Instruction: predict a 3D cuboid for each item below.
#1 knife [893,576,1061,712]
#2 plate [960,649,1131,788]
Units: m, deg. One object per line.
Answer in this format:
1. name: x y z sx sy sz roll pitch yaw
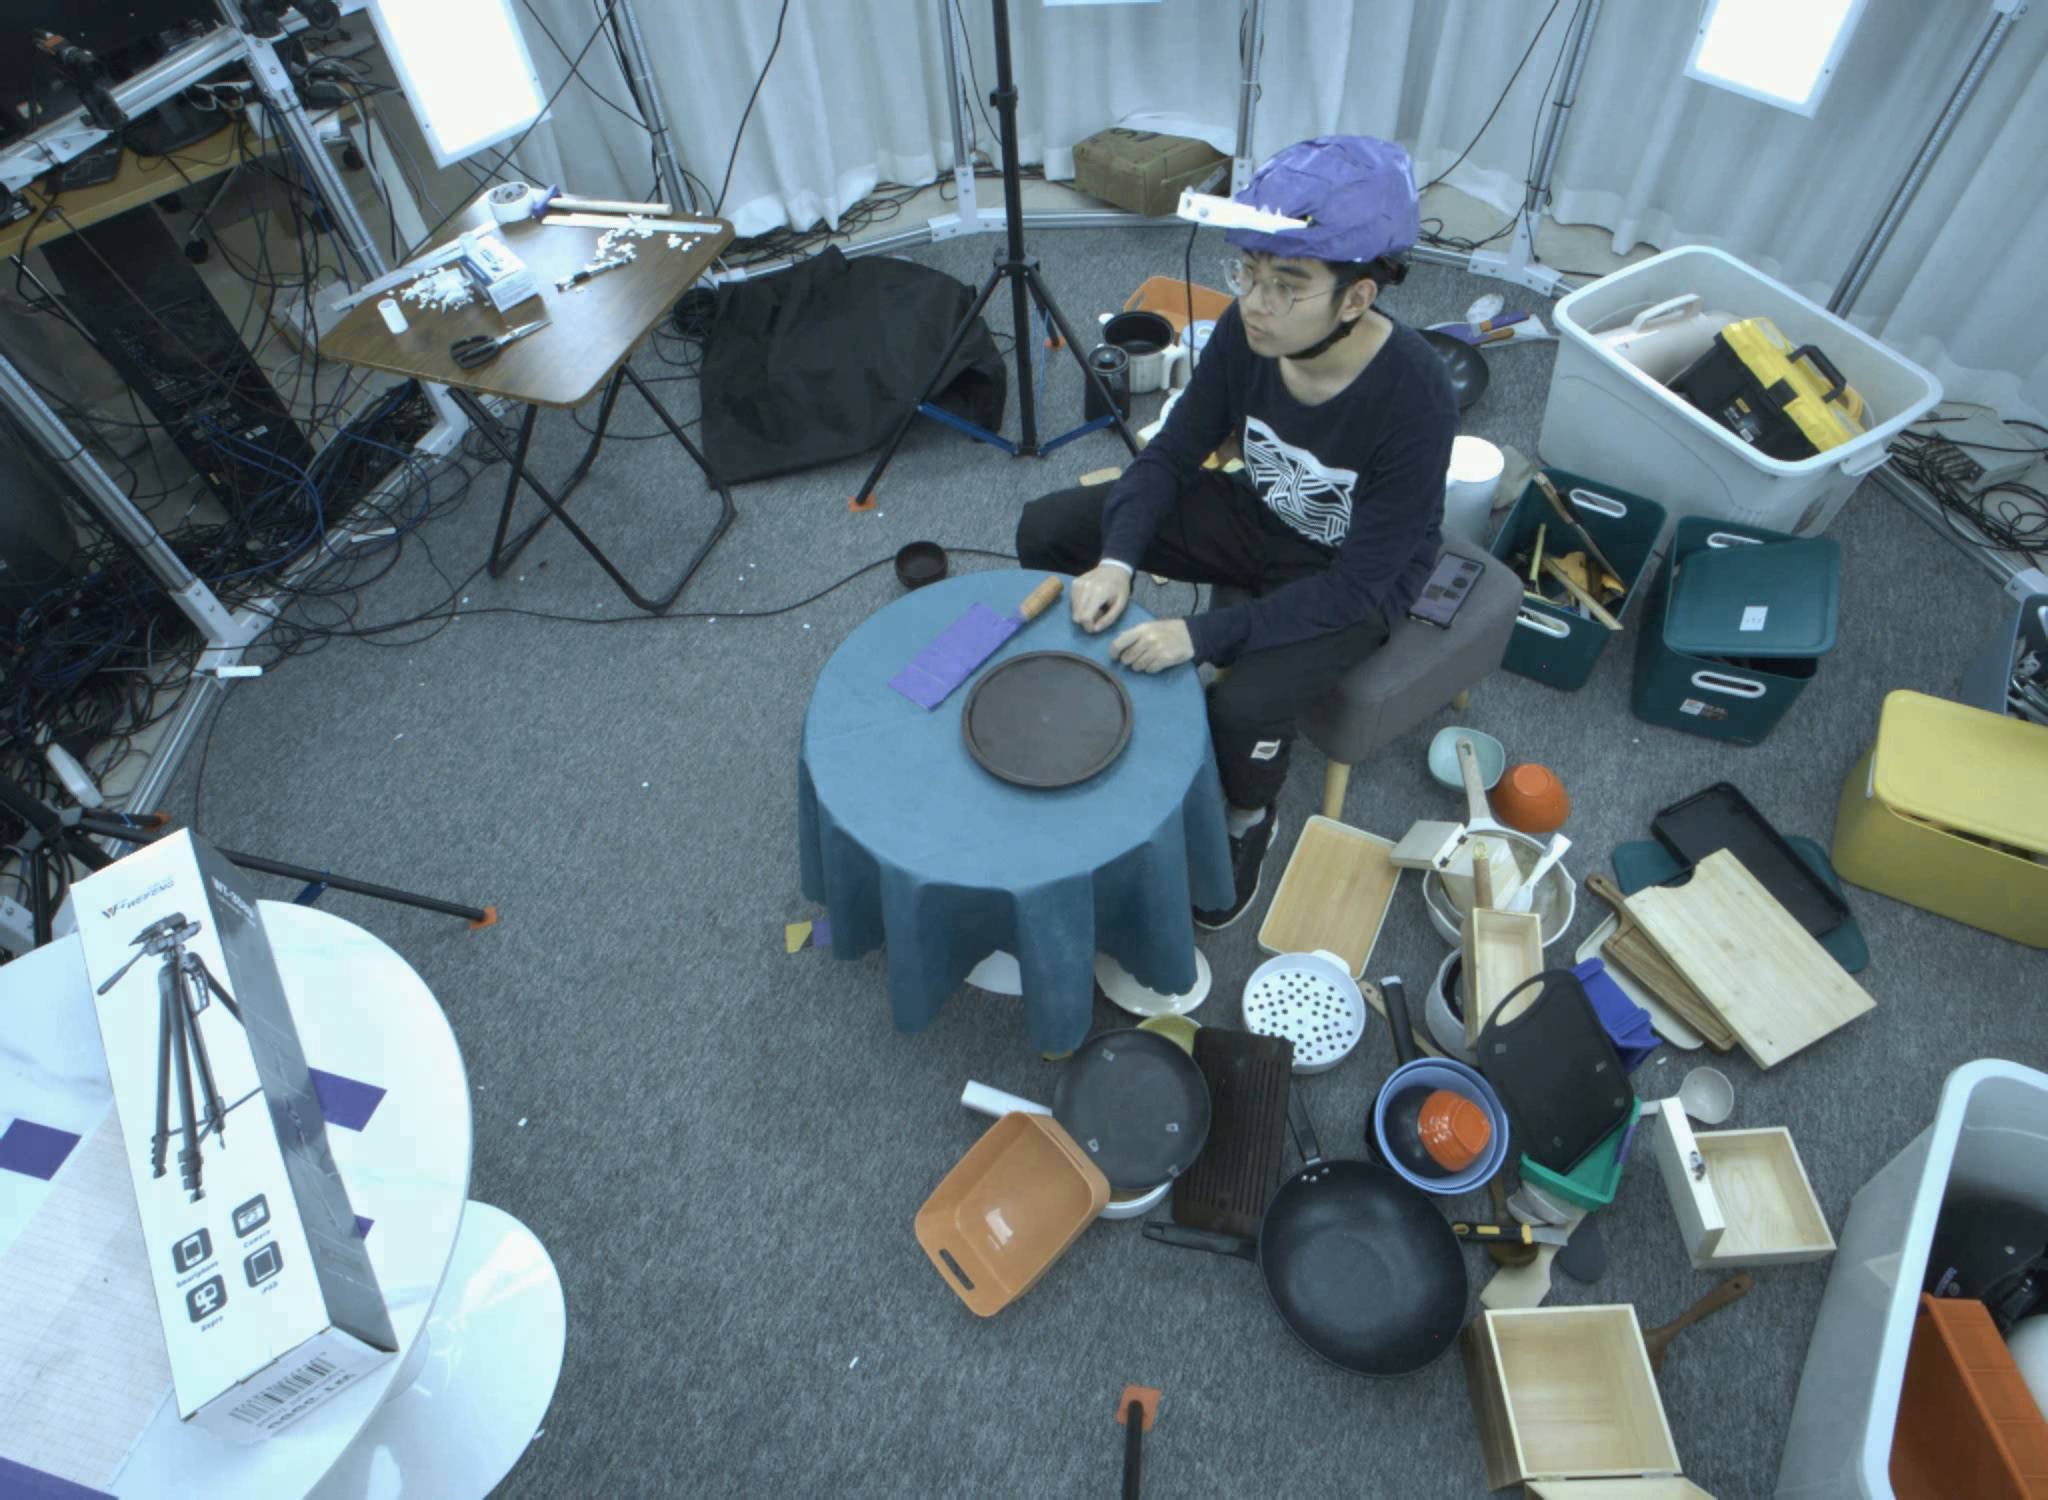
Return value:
1. knife: -0.075 -0.183 1.911 0.102 0.032 0.317 34 62 22
2. plate: 0.032 -0.048 1.814 0.254 0.029 0.252 -1 54 2
